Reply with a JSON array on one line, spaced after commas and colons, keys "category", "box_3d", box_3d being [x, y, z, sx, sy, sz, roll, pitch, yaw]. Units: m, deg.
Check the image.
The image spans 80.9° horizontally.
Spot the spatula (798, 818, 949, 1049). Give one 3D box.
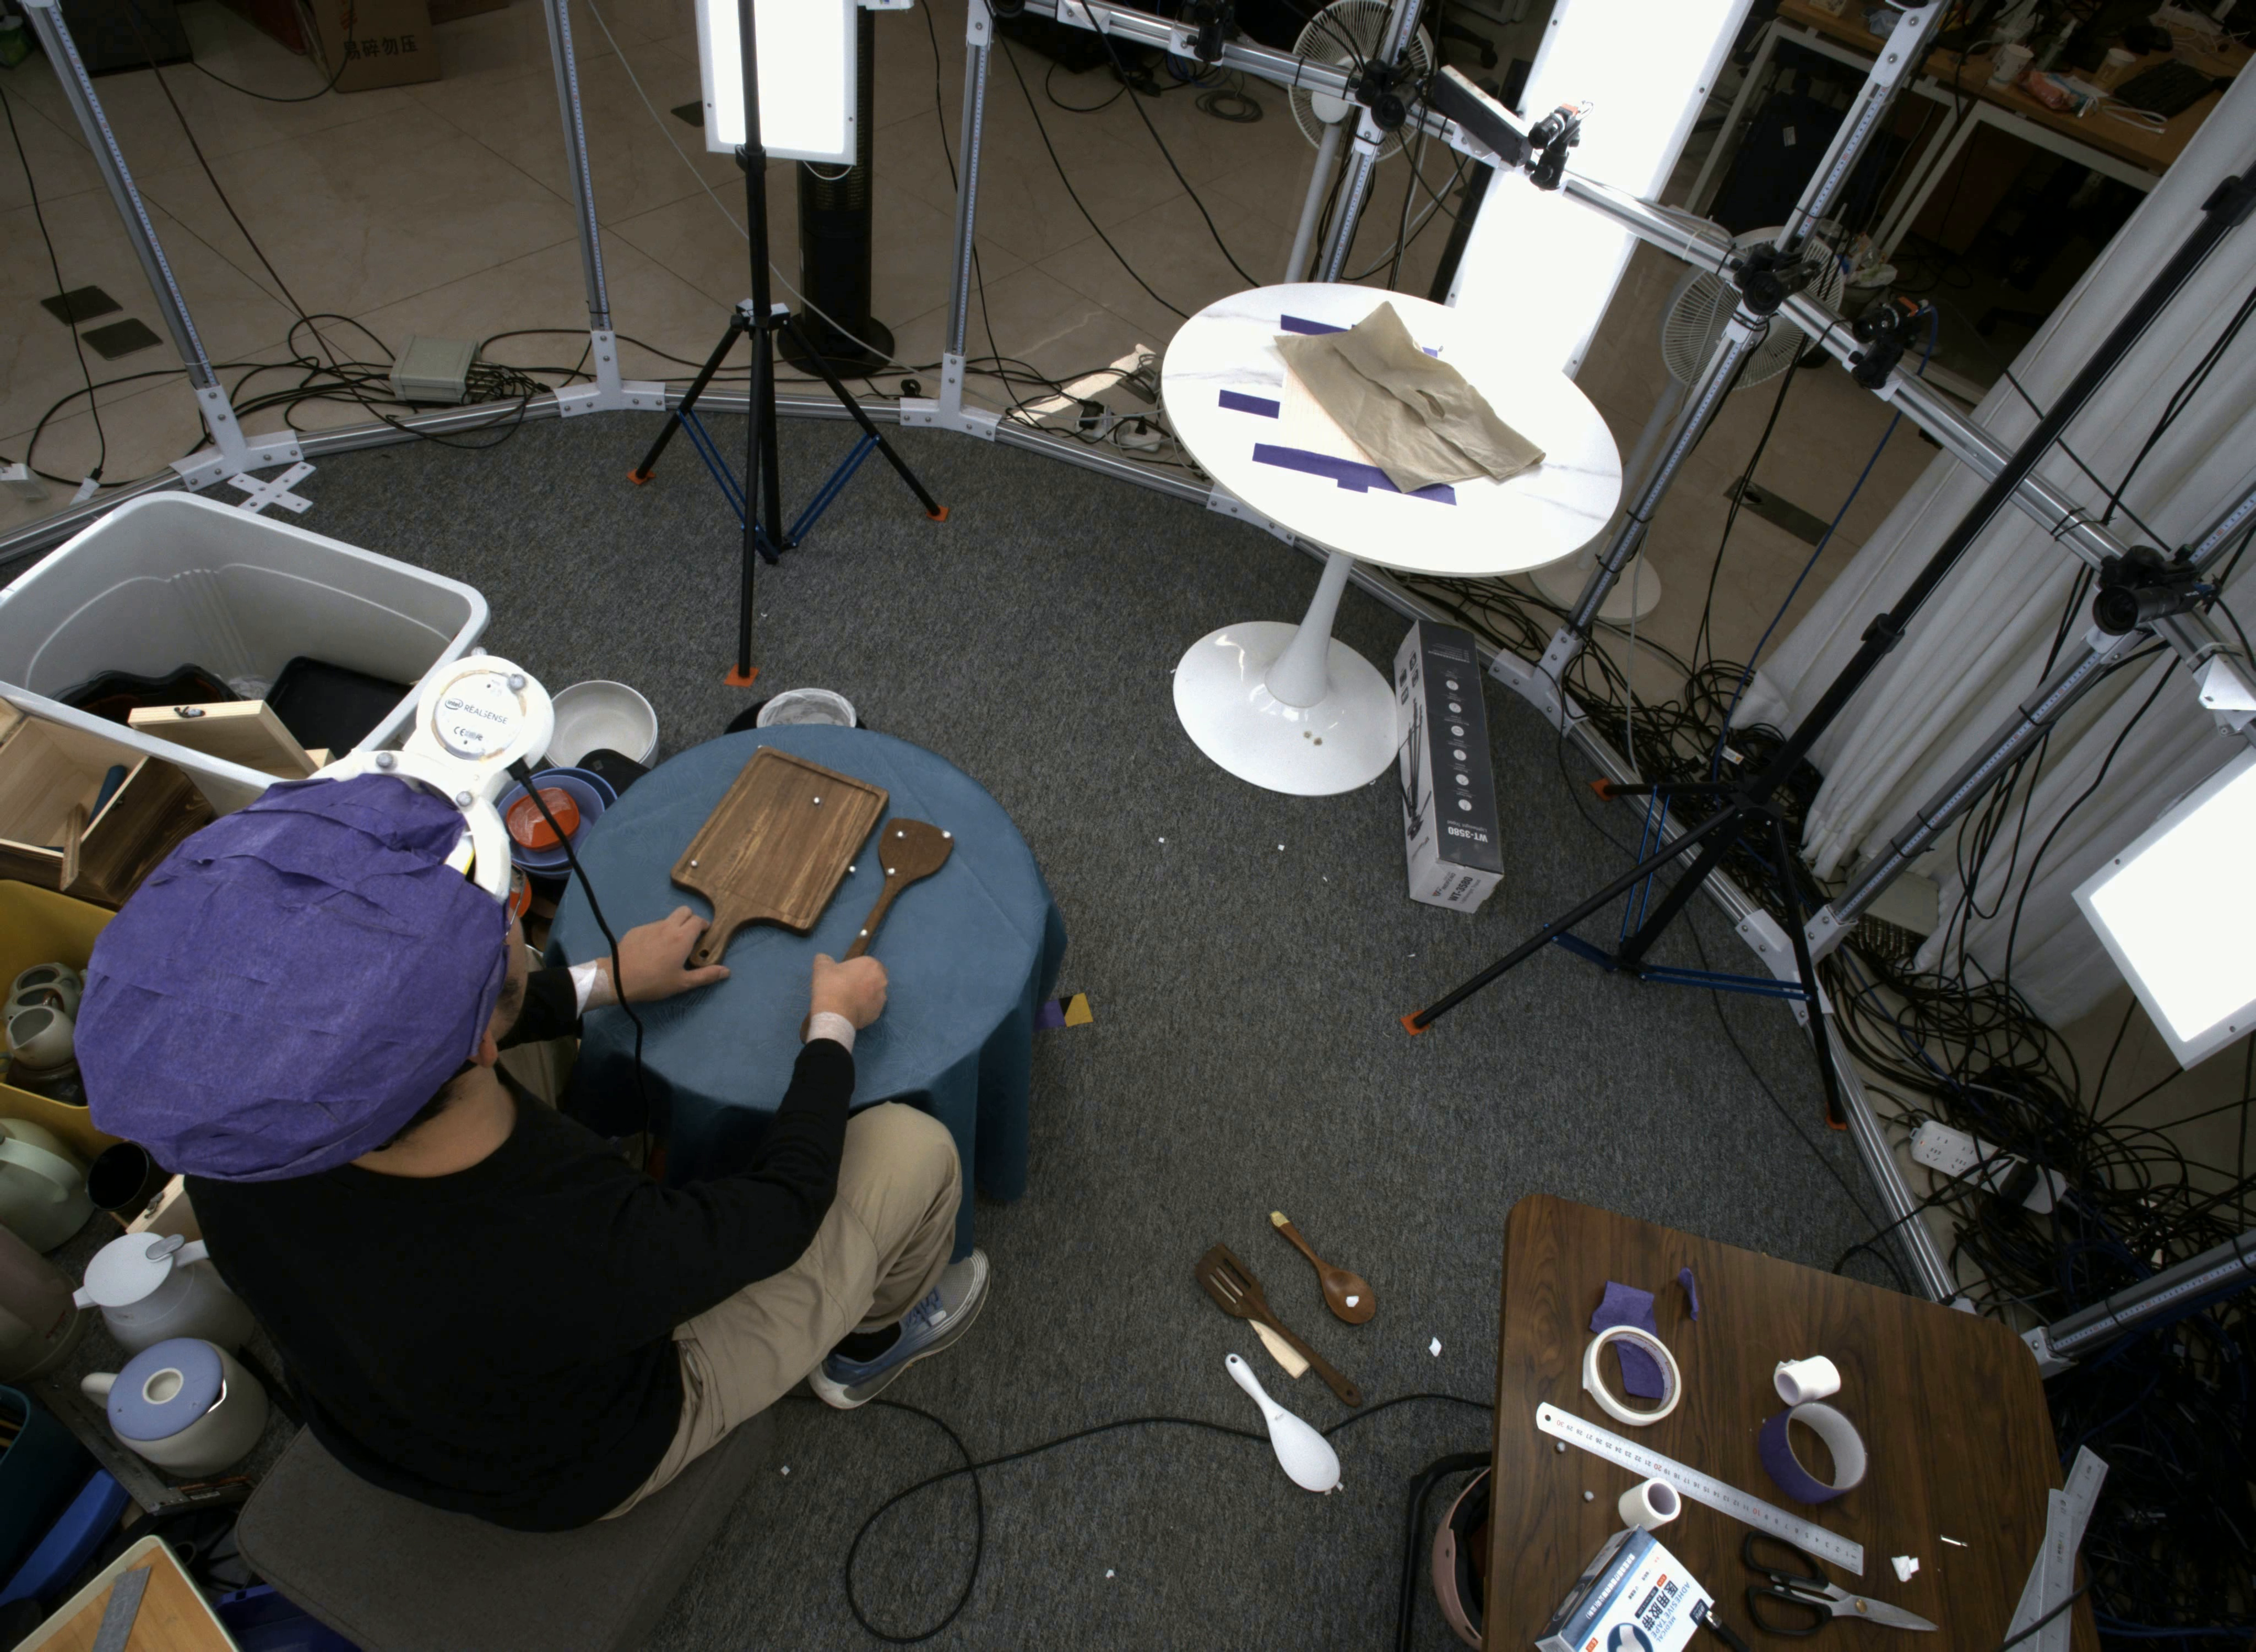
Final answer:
[{"category": "spatula", "box_3d": [-0.326, 0.124, 1.625, 0.095, 0.016, 0.381, 19, 45, 1]}]

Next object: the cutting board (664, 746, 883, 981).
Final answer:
[{"category": "cutting board", "box_3d": [-0.471, 0.049, 1.656, 0.199, 0.023, 0.348, 20, 51, 1]}]
